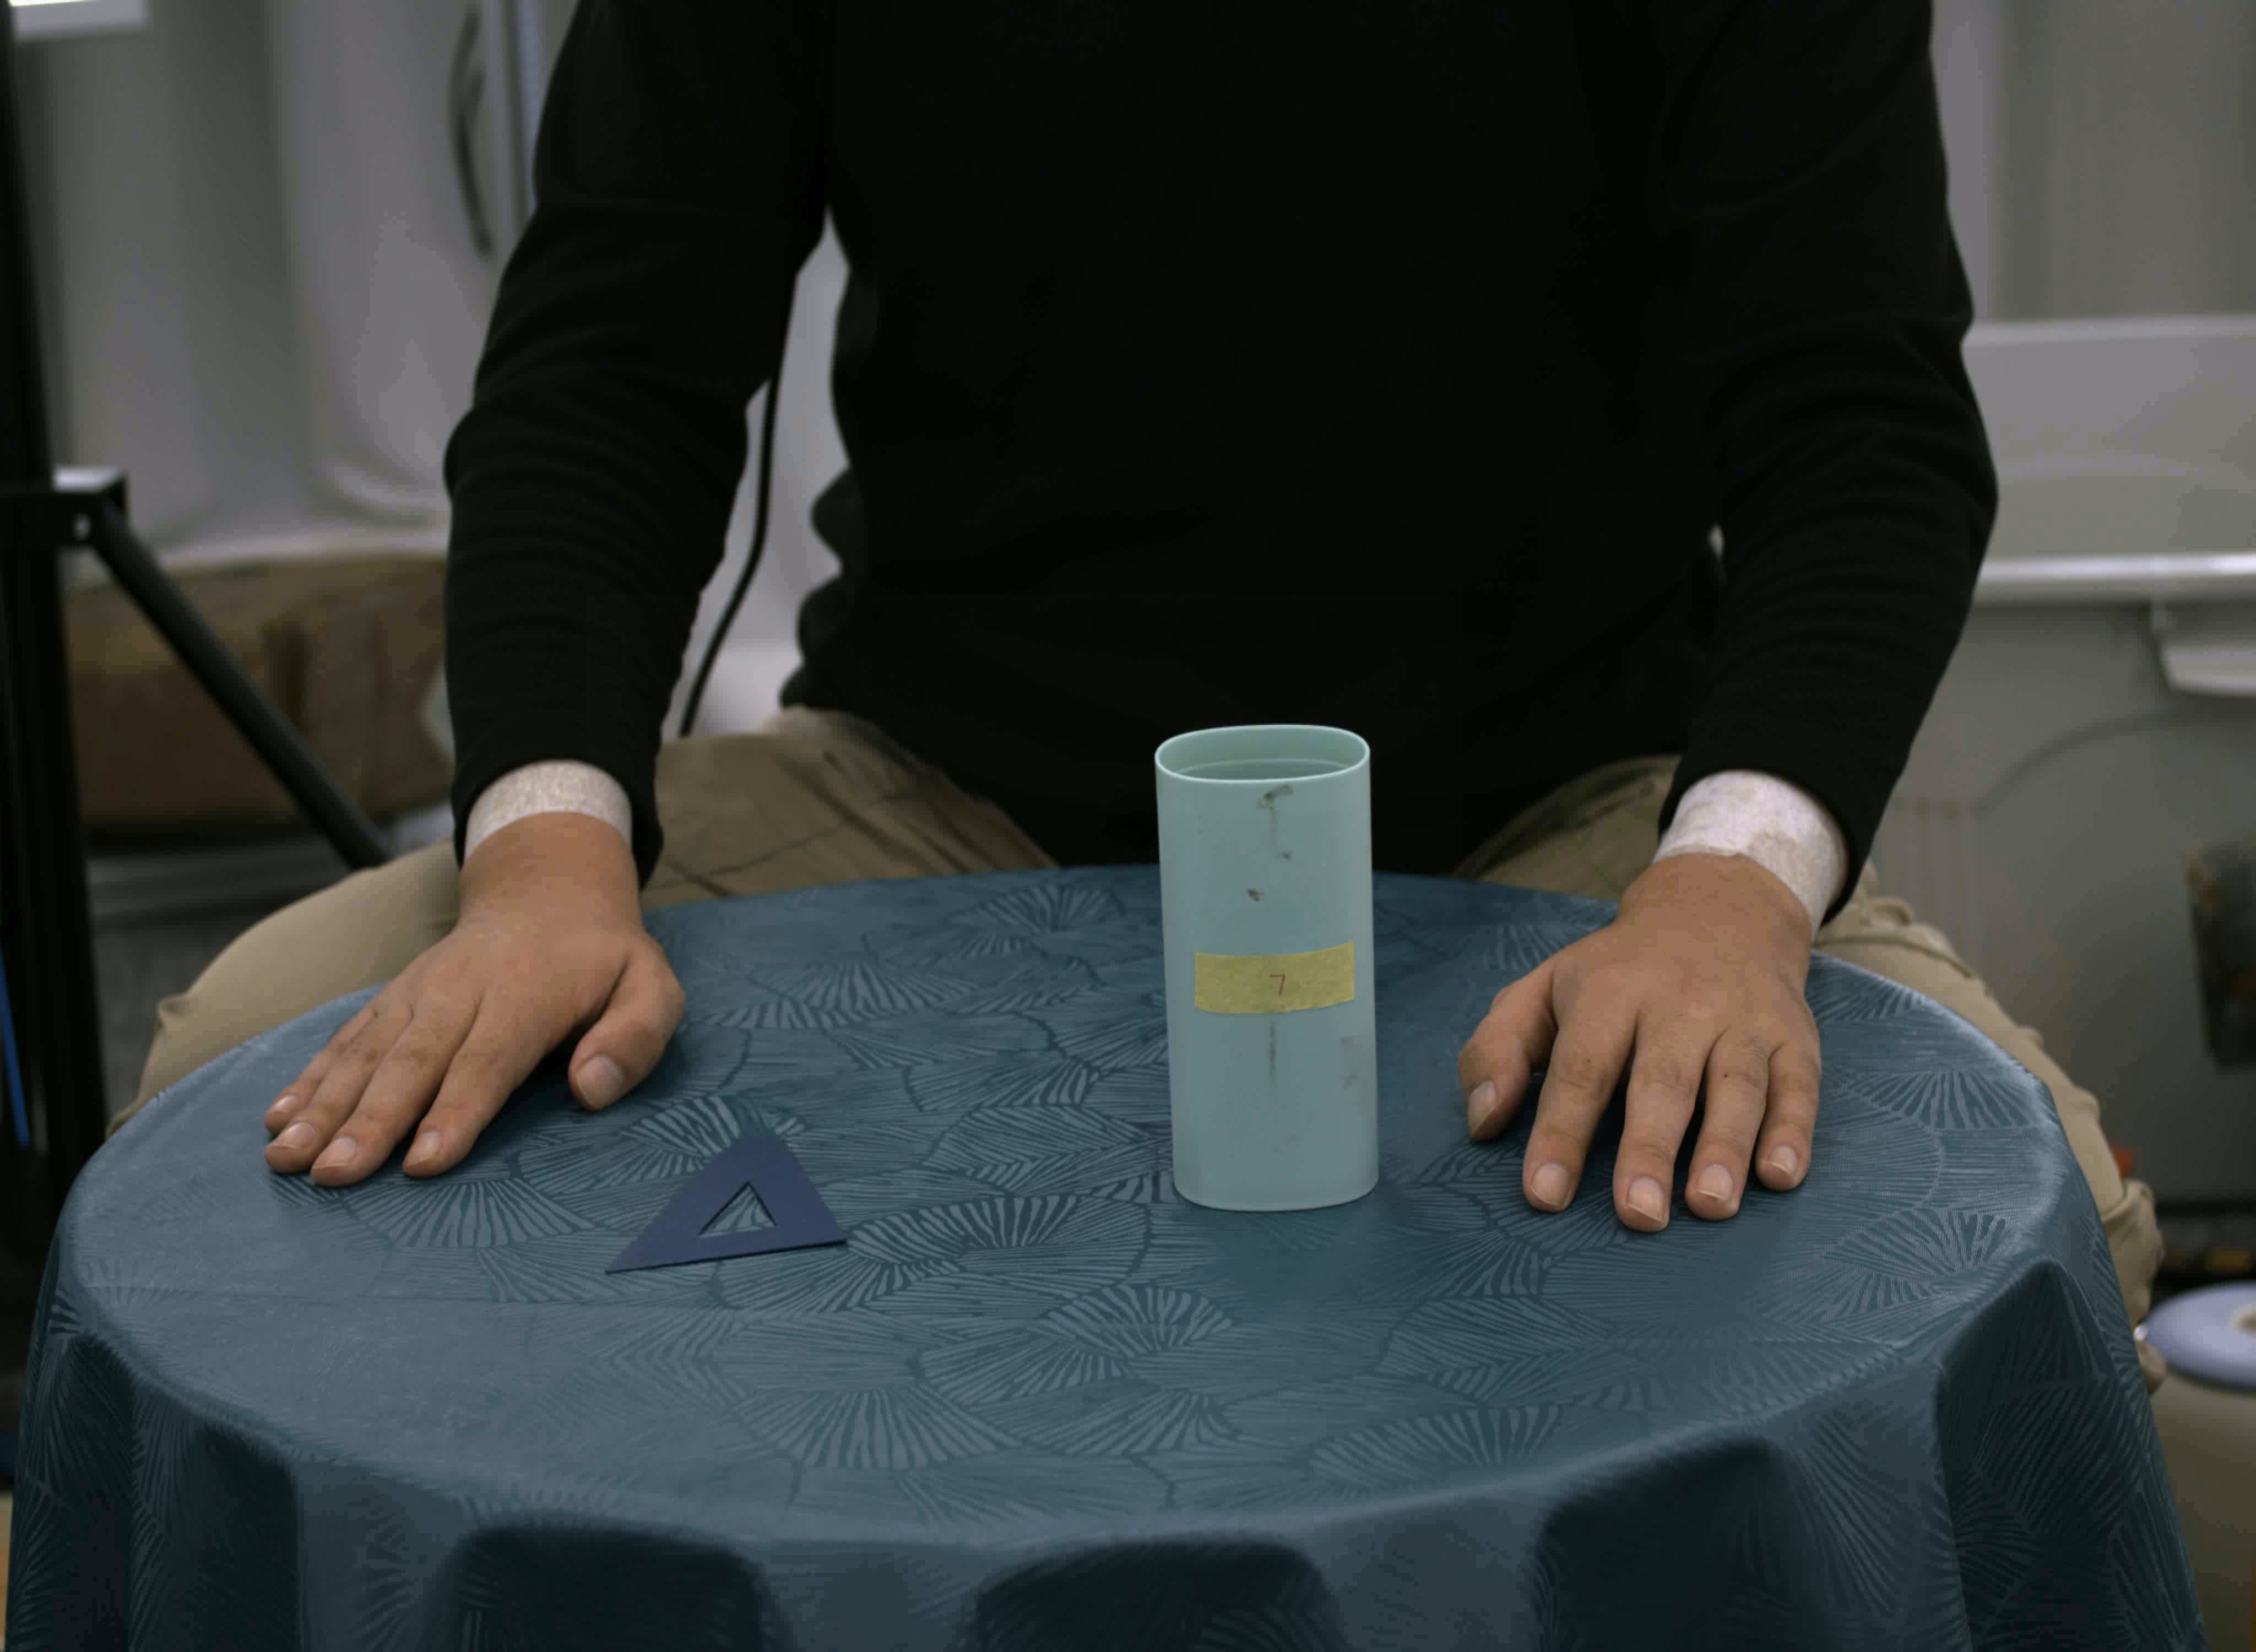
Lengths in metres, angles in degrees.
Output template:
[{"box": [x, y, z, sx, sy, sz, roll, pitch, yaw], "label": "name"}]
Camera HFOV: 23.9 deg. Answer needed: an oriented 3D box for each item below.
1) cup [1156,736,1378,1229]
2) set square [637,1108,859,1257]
[{"box": [0.042, 0.045, 1.548, 0.066, 0.132, 0.067, -3, 15, -1], "label": "cup"}, {"box": [-0.094, 0.105, 1.573, 0.062, 0.006, 0.130, 1, 16, 20], "label": "set square"}]
